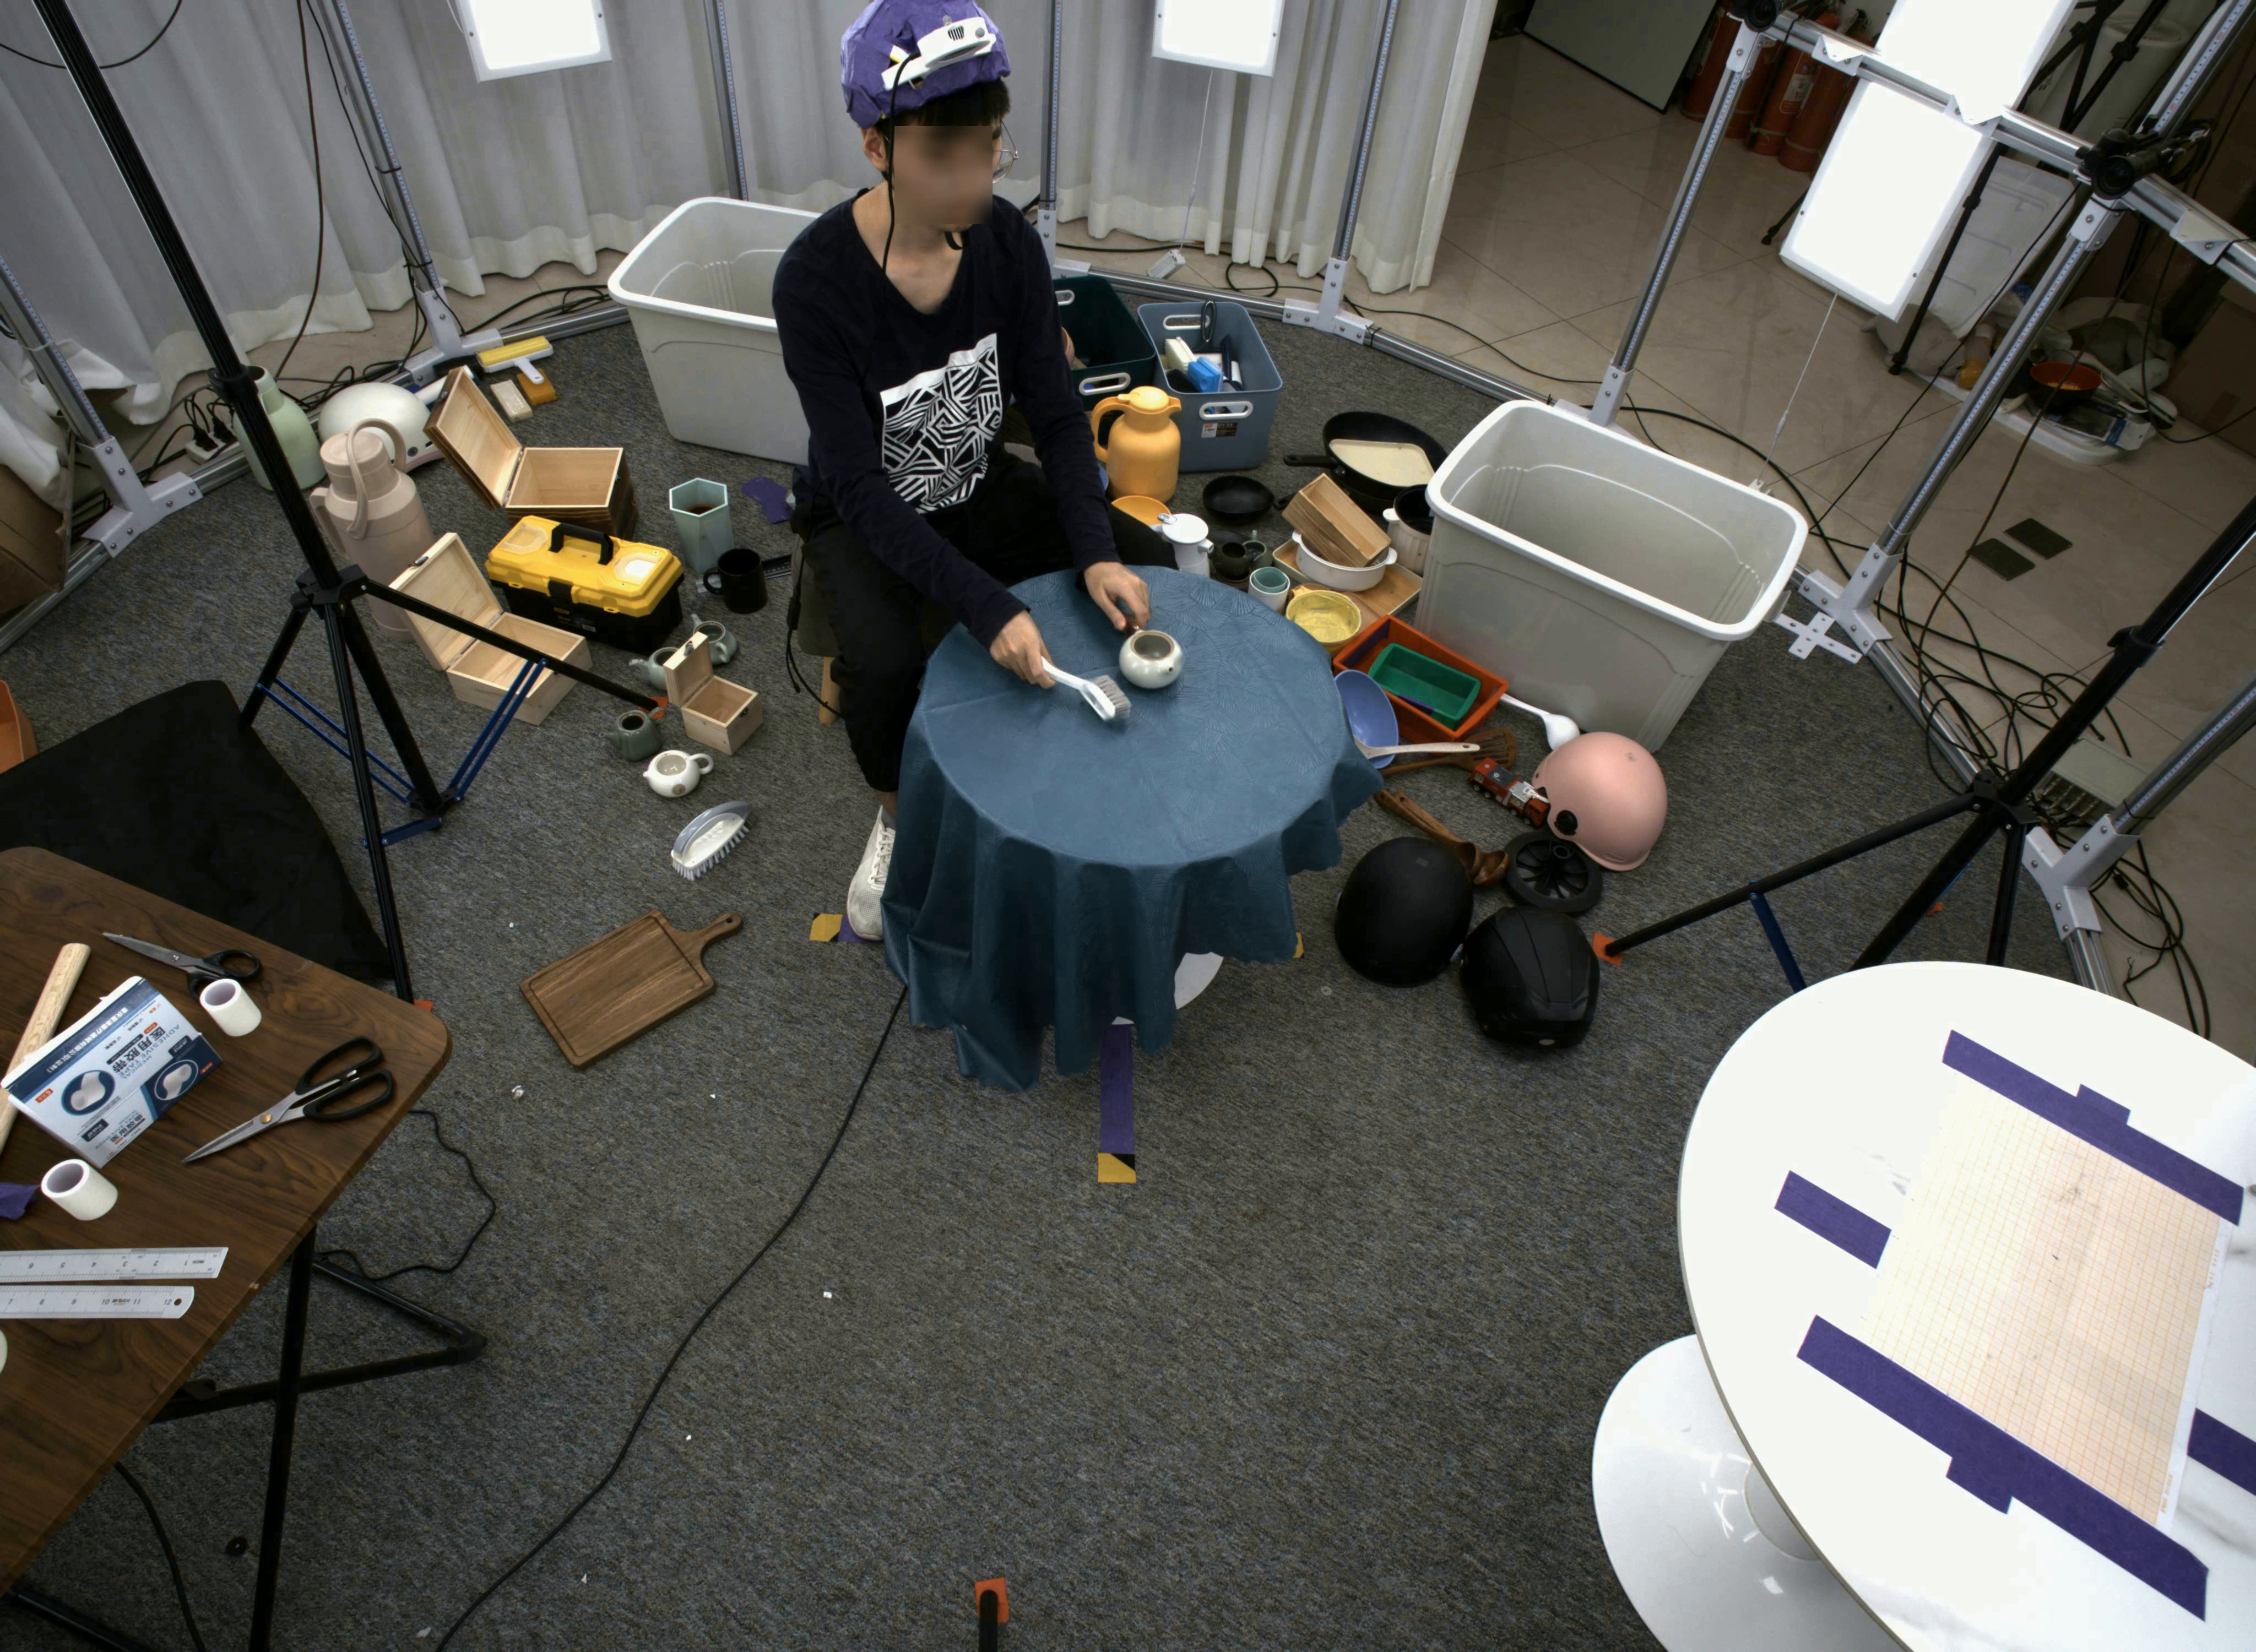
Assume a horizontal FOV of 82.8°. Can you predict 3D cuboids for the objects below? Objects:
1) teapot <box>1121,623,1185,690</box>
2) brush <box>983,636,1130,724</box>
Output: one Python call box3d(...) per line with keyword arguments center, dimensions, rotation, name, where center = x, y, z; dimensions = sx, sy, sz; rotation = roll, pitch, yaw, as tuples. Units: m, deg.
box3d(center=(0.030, -0.243, 1.845), dimensions=(0.092, 0.058, 0.130), rotation=(-25, 55, -20), name="teapot")
box3d(center=(-0.099, -0.218, 1.814), dimensions=(0.246, 0.033, 0.051), rotation=(32, 59, 21), name="brush")
